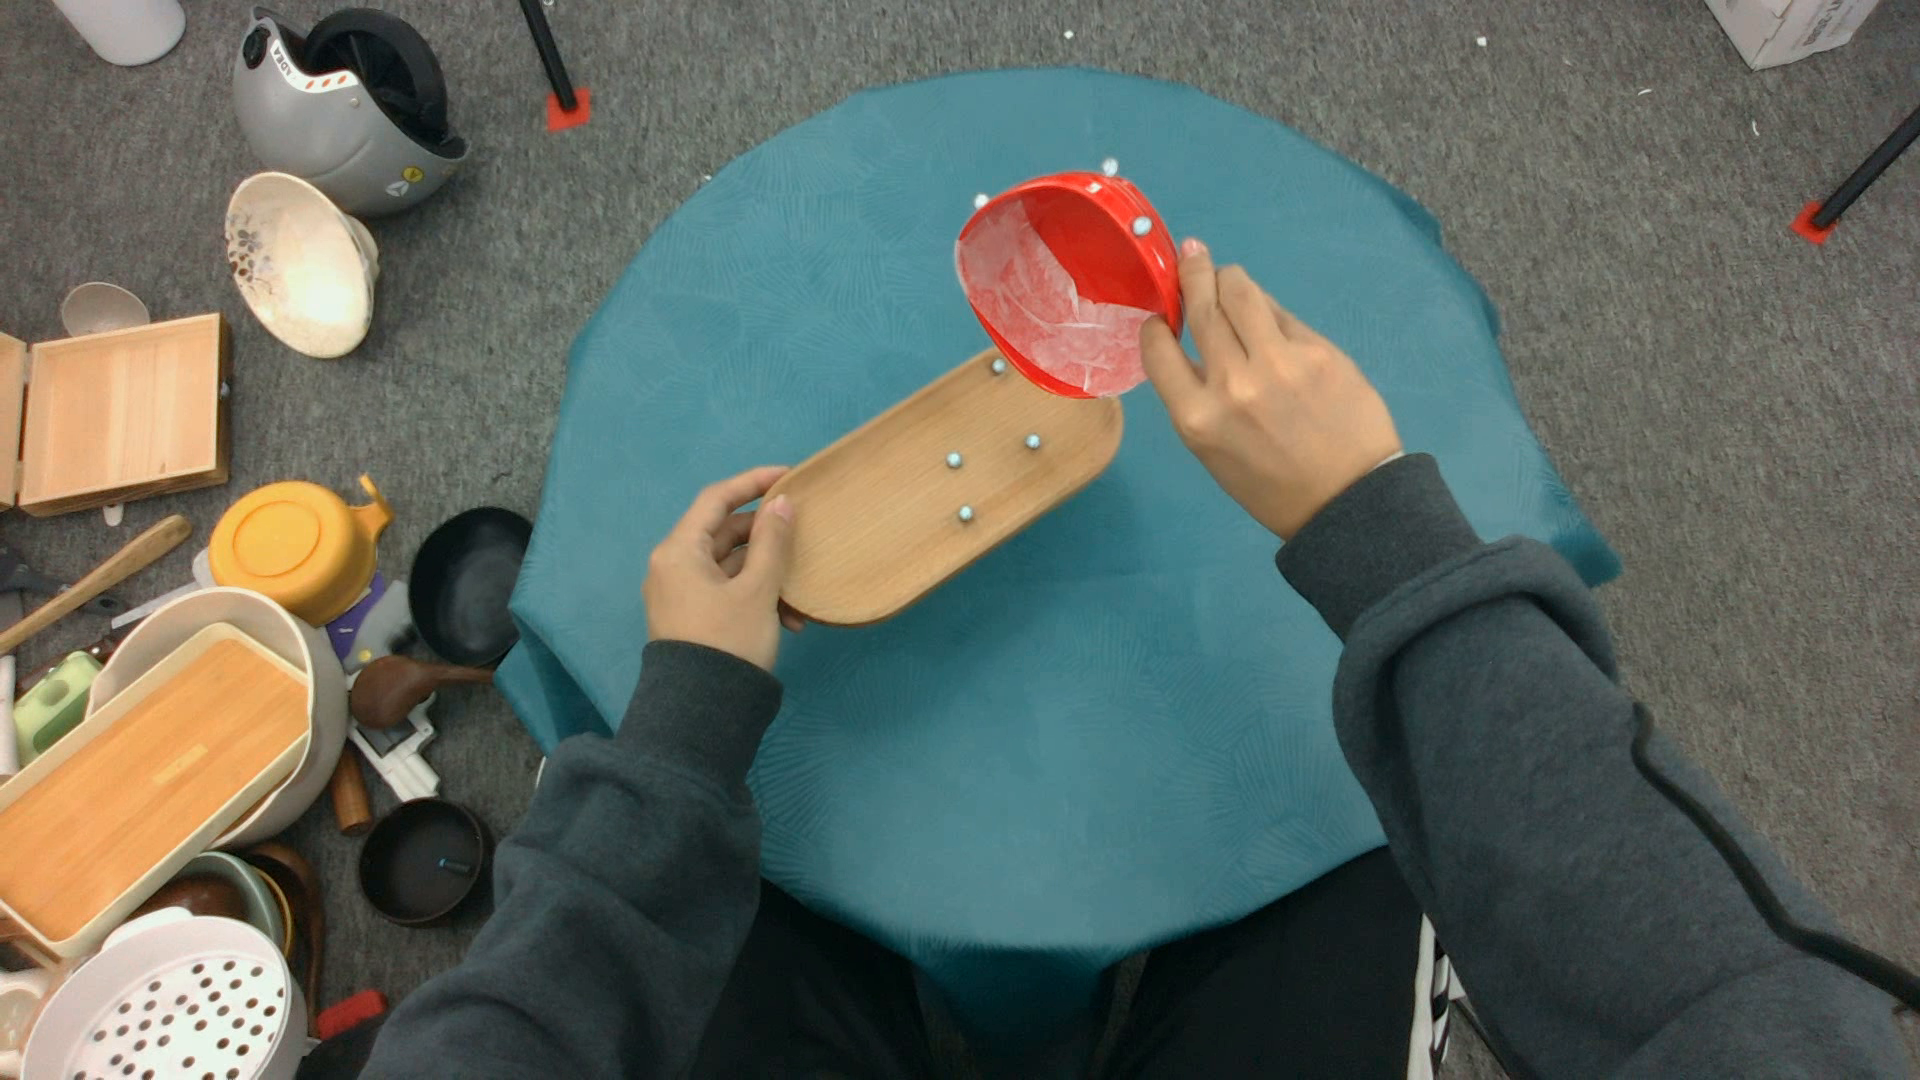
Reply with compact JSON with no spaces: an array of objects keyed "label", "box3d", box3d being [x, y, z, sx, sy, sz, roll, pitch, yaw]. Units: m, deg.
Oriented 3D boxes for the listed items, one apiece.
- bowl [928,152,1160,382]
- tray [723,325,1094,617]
[{"label":"bowl","box3d":[0.048,-0.136,0.656,0.119,0.118,0.051,30,50,13]},{"label":"tray","box3d":[-0.024,-0.041,0.749,0.232,0.020,0.102,-36,72,-22]}]
